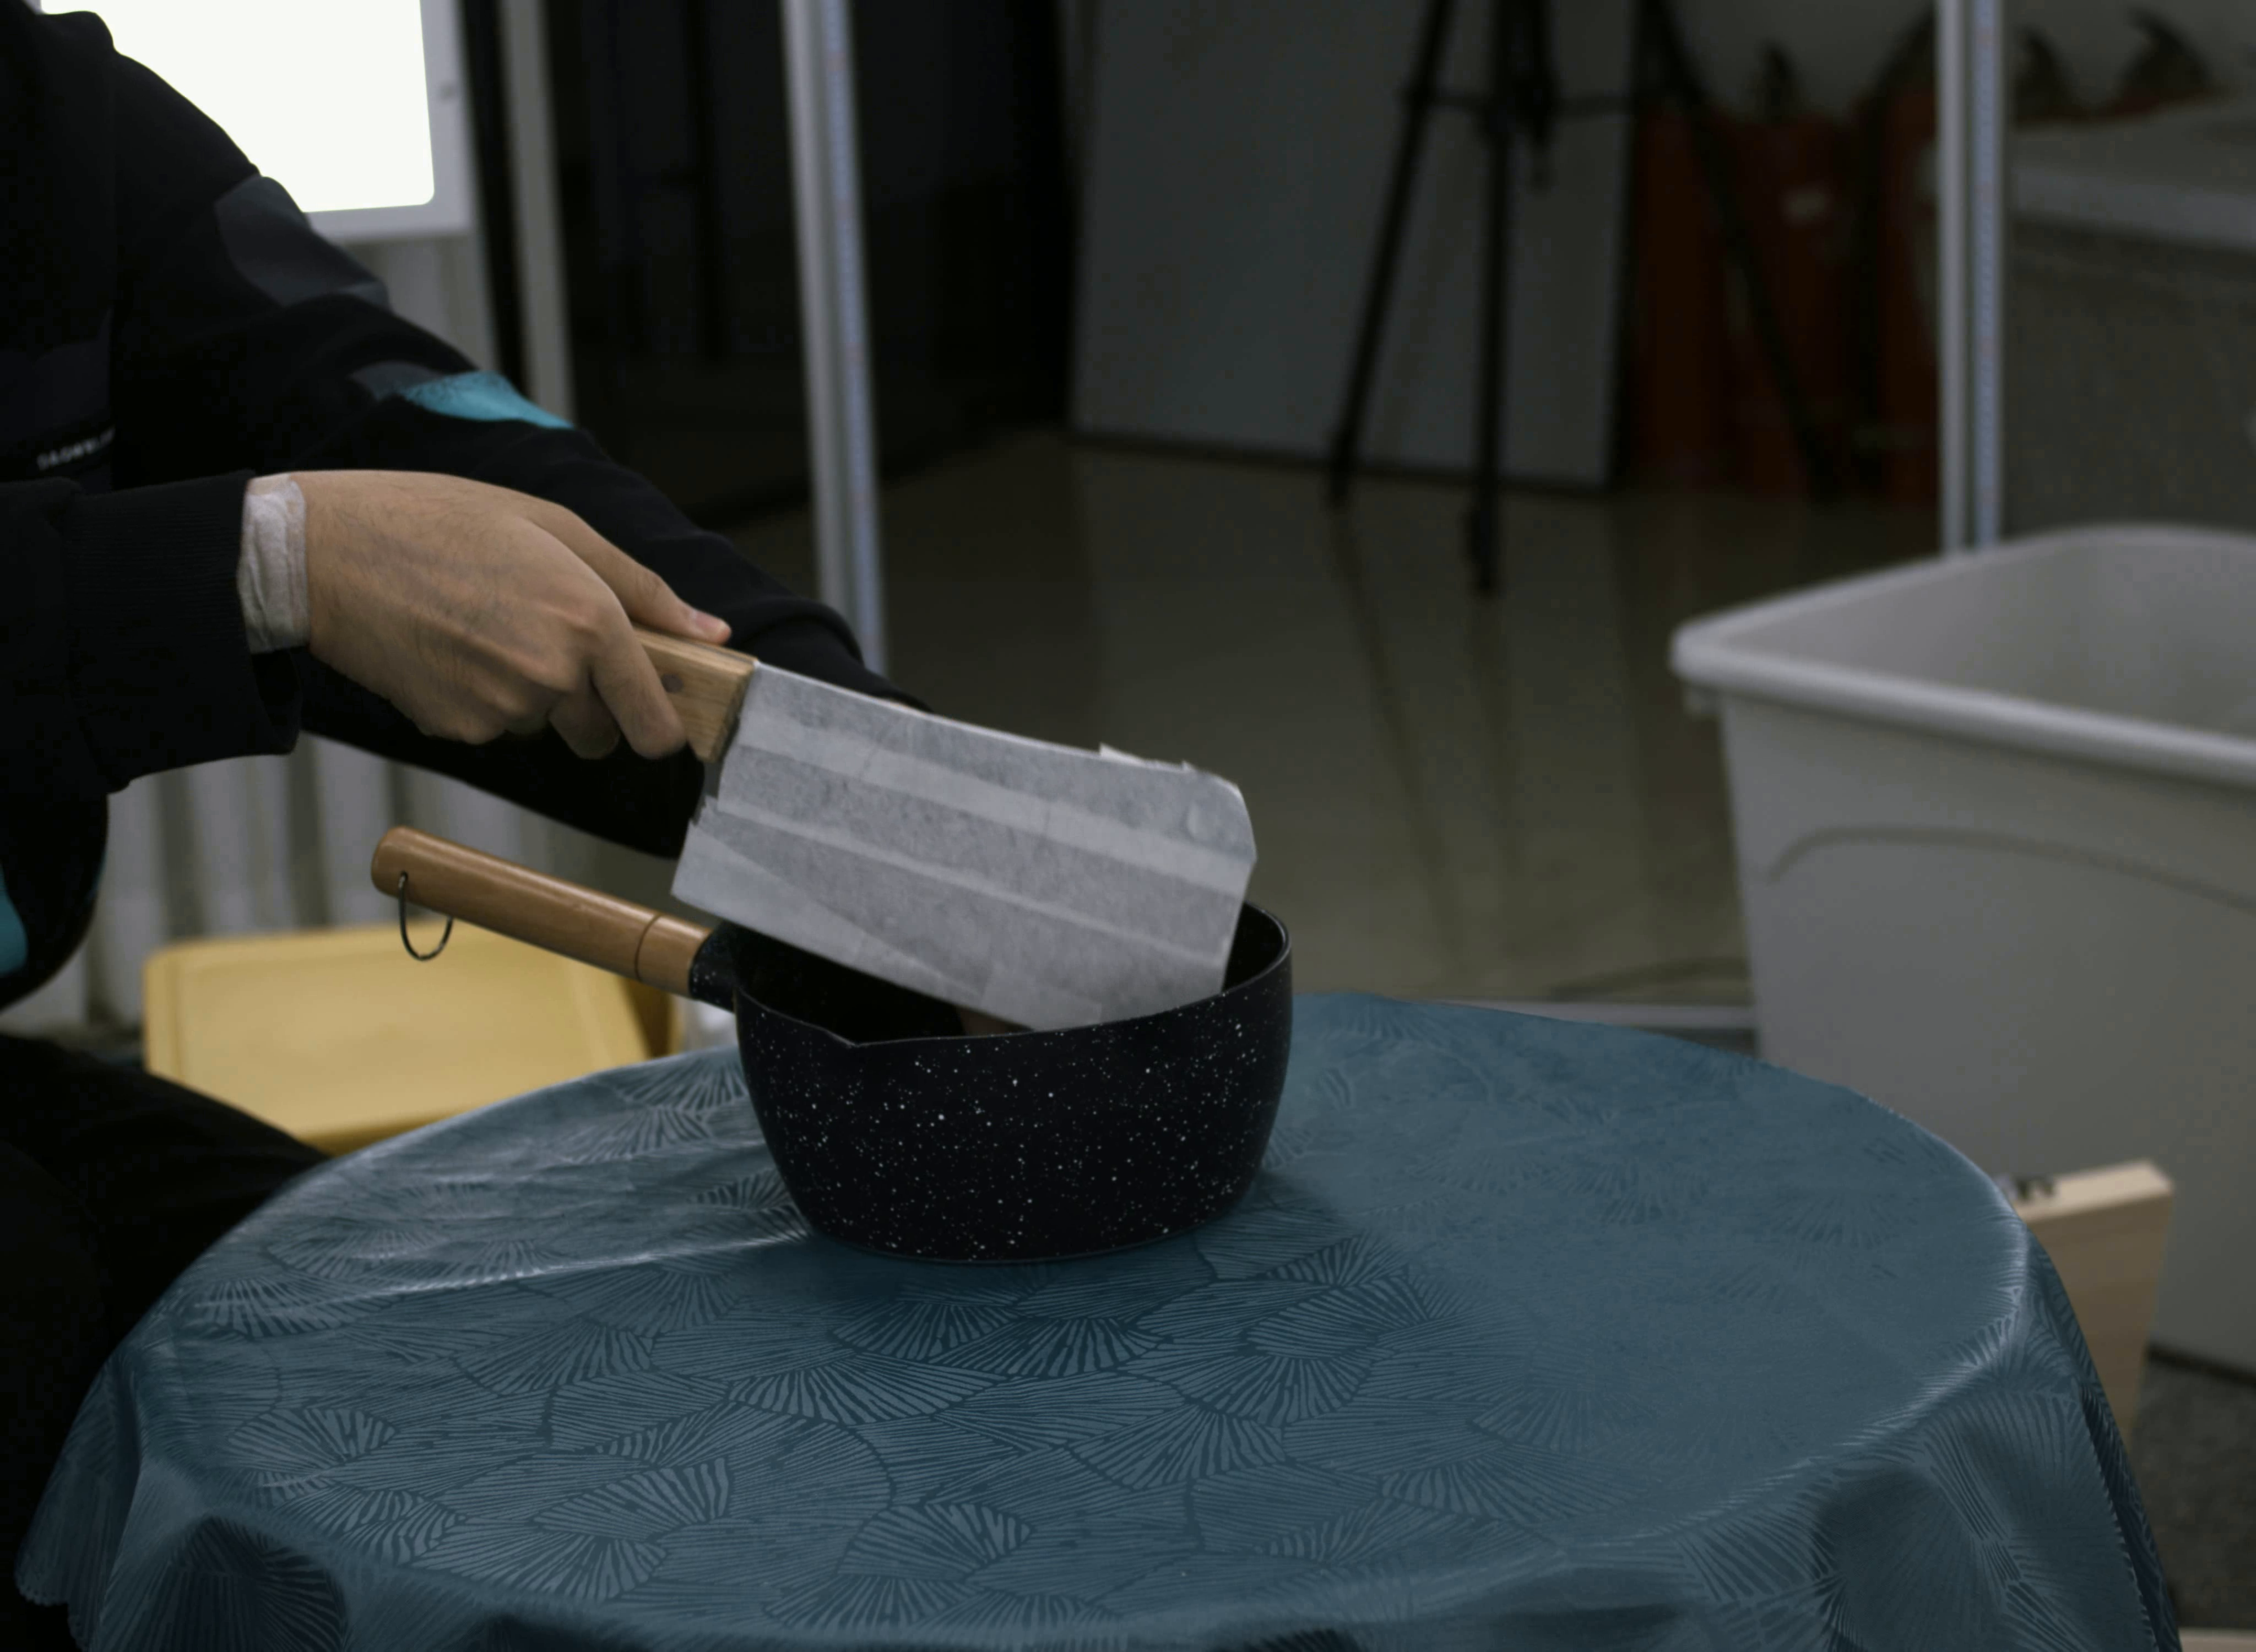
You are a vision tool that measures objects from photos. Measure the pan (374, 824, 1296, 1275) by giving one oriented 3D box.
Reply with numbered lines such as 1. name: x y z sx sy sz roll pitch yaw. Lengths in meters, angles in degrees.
1. pan: -0.106 0.066 1.798 0.343 0.109 0.205 4 17 27

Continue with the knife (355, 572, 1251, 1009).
1. knife: -0.105 -0.014 1.752 0.313 0.115 0.021 22 16 5
